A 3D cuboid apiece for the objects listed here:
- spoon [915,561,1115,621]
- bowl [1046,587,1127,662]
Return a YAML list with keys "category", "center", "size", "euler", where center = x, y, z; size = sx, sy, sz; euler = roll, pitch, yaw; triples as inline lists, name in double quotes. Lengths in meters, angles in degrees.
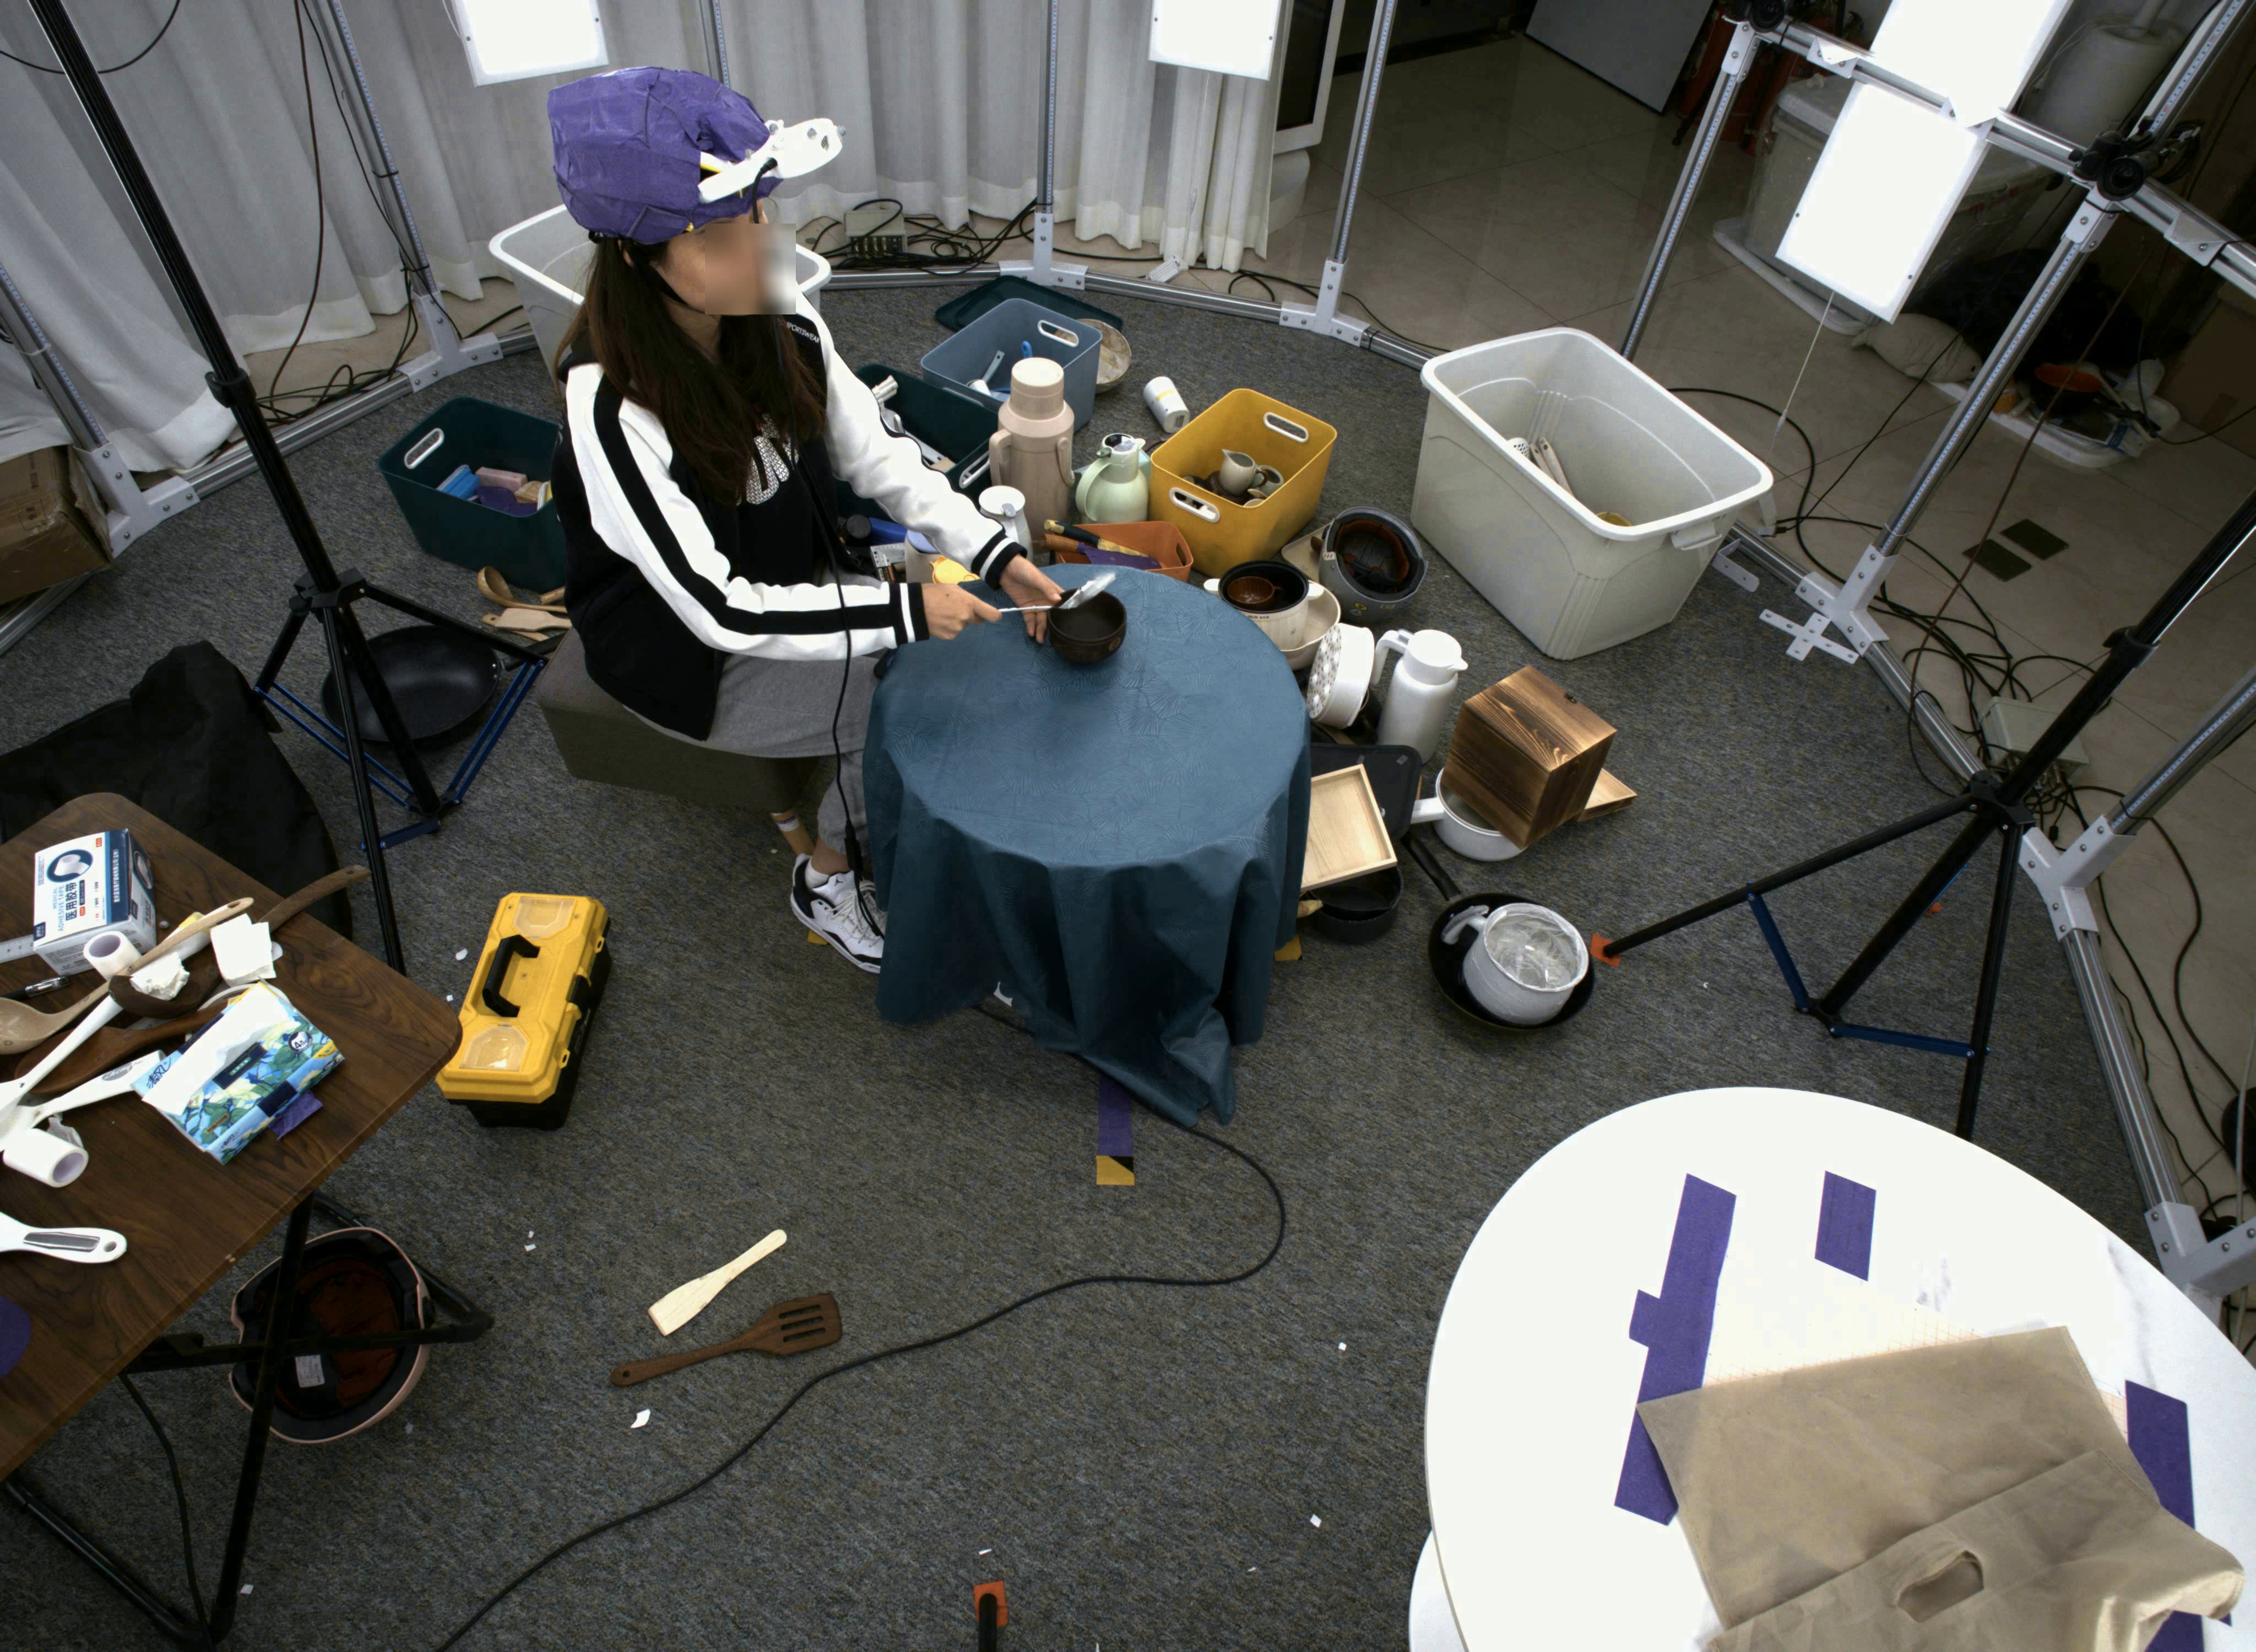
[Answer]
- category: "spoon"
  center: [-0.153, -0.318, 1.749]
  size: [0.277, 0.059, 0.101]
  euler: [-4, 6, 3]
- category: "bowl"
  center: [-0.061, -0.284, 1.864]
  size: [0.118, 0.068, 0.121]
  euler: [2, 49, -3]
